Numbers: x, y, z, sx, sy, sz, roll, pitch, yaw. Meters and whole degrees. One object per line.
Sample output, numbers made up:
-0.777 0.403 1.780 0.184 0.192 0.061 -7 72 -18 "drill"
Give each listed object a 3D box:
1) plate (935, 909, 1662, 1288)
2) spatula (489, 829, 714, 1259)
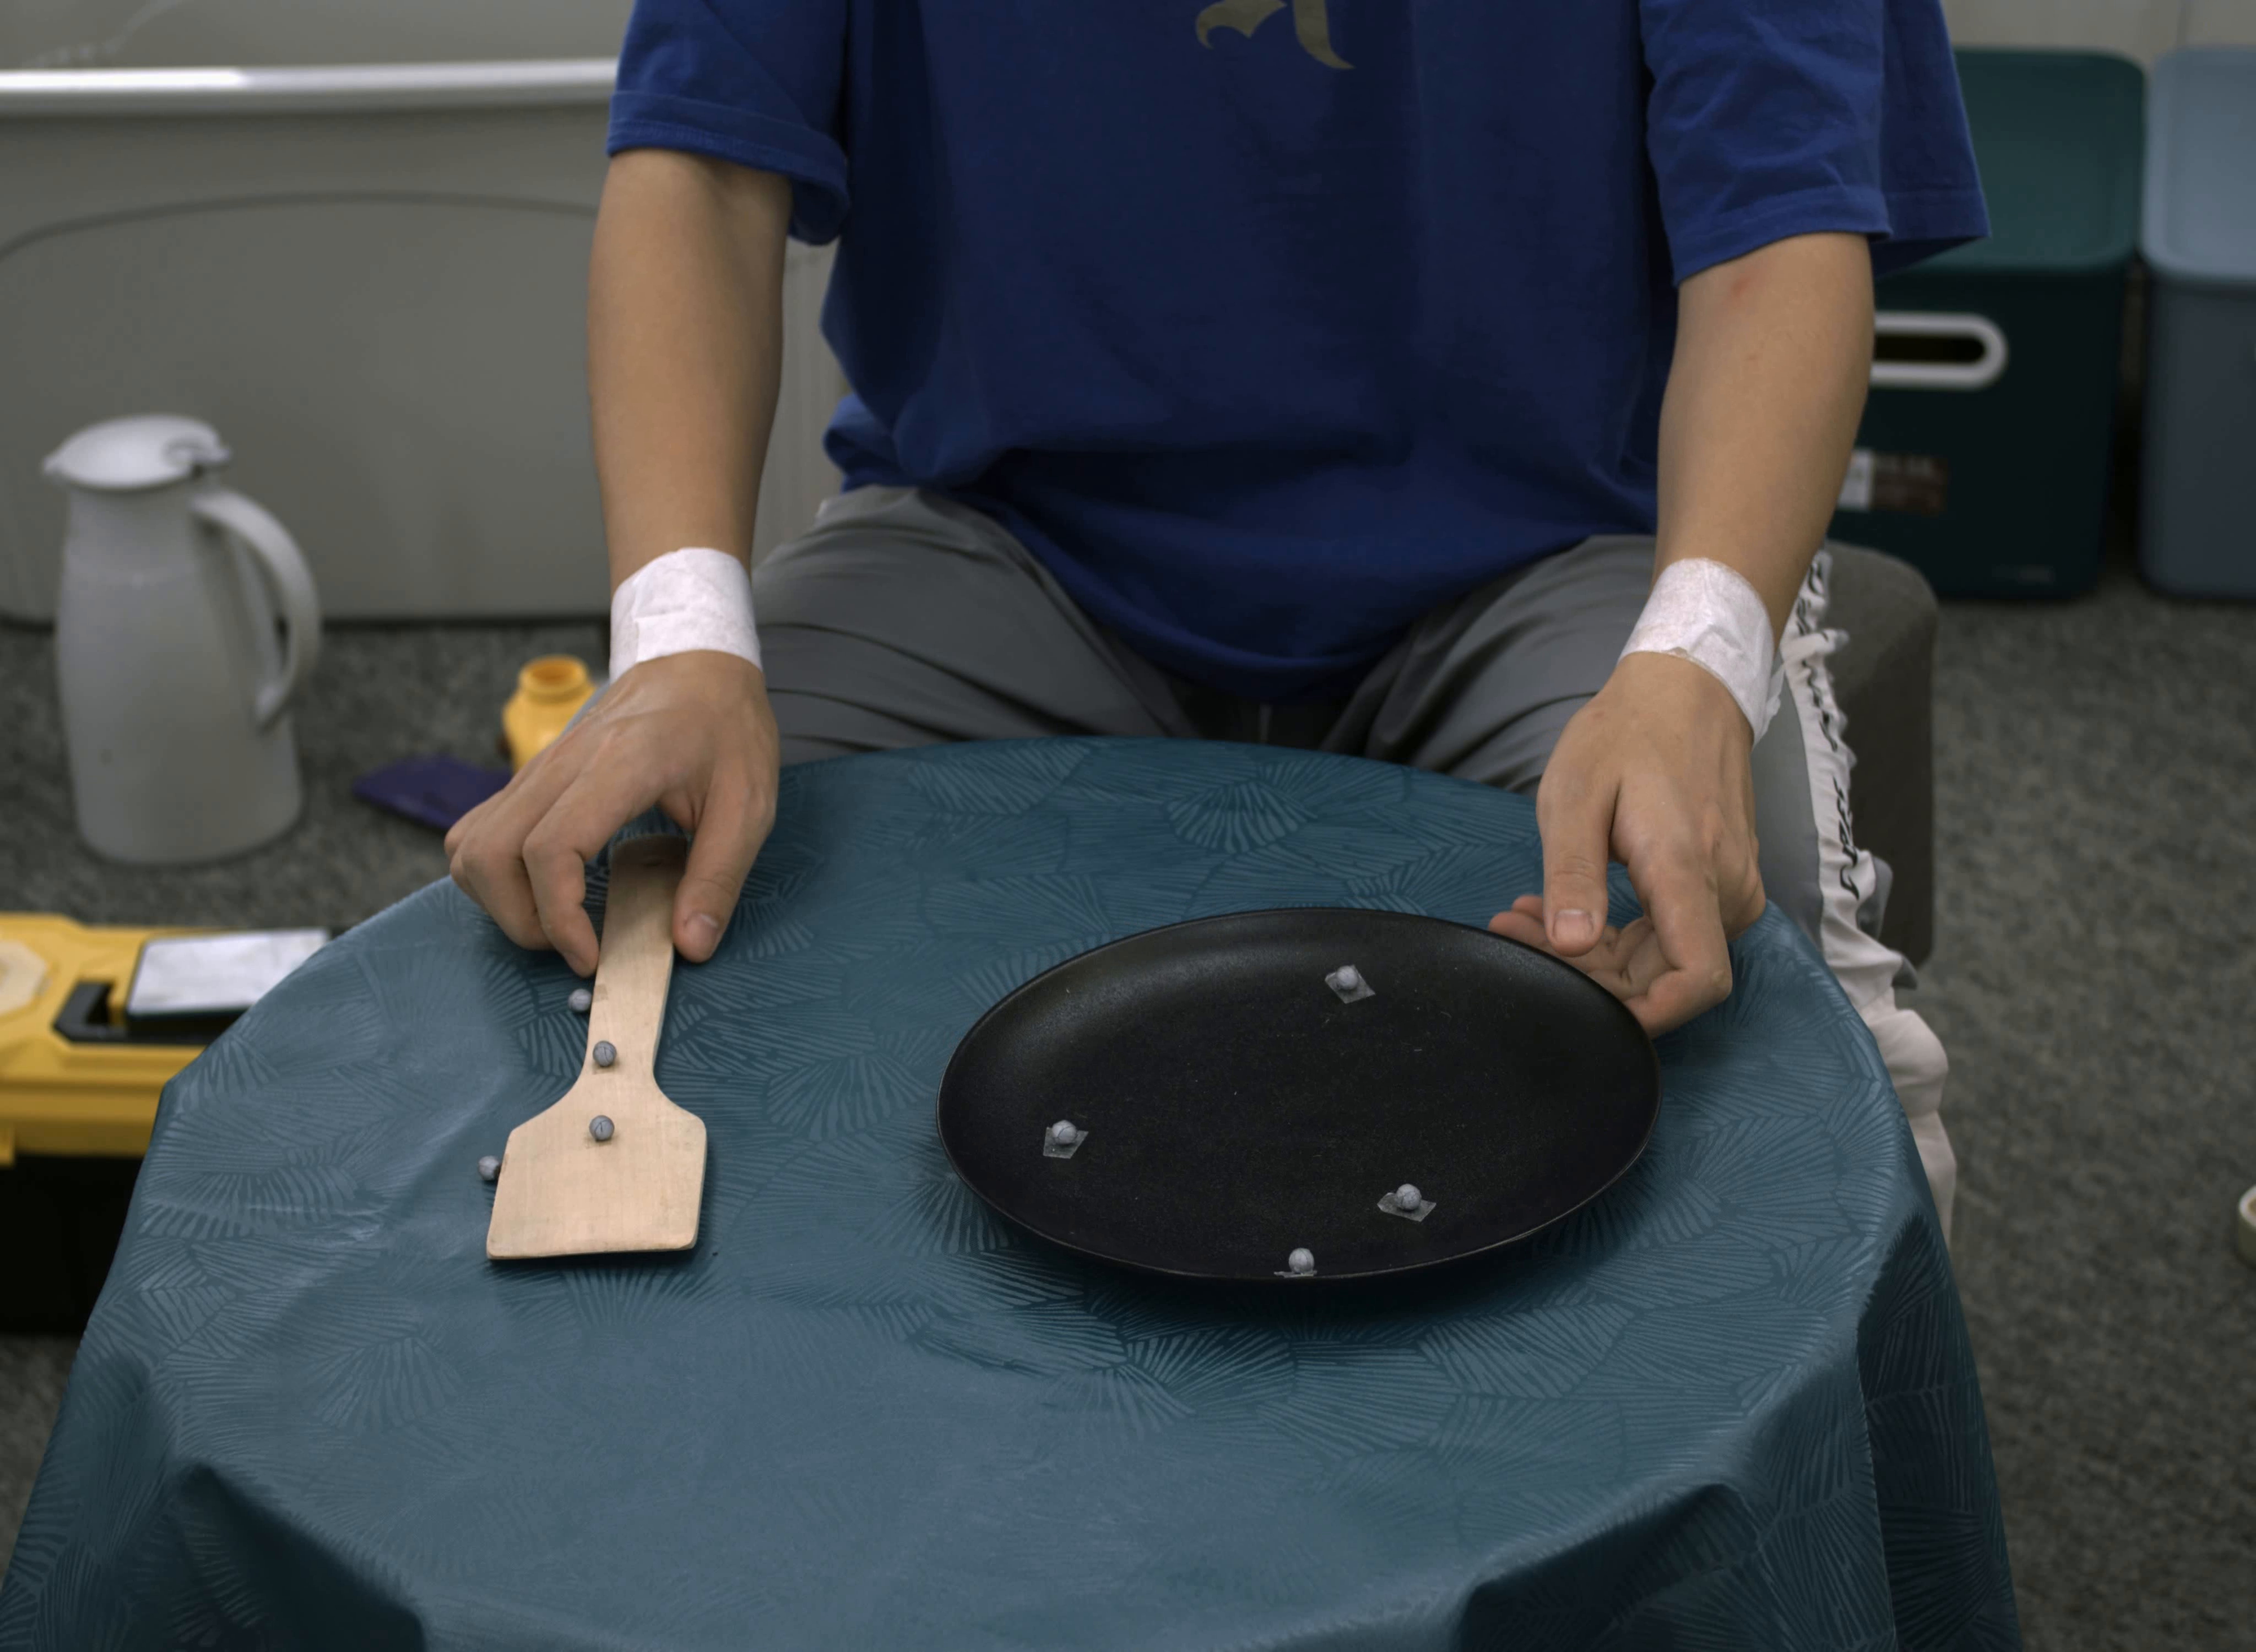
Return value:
0.057 0.095 1.880 0.243 0.023 0.248 -3 27 2 "plate"
-0.175 0.073 1.962 0.072 0.010 0.297 -3 28 2 "spatula"
